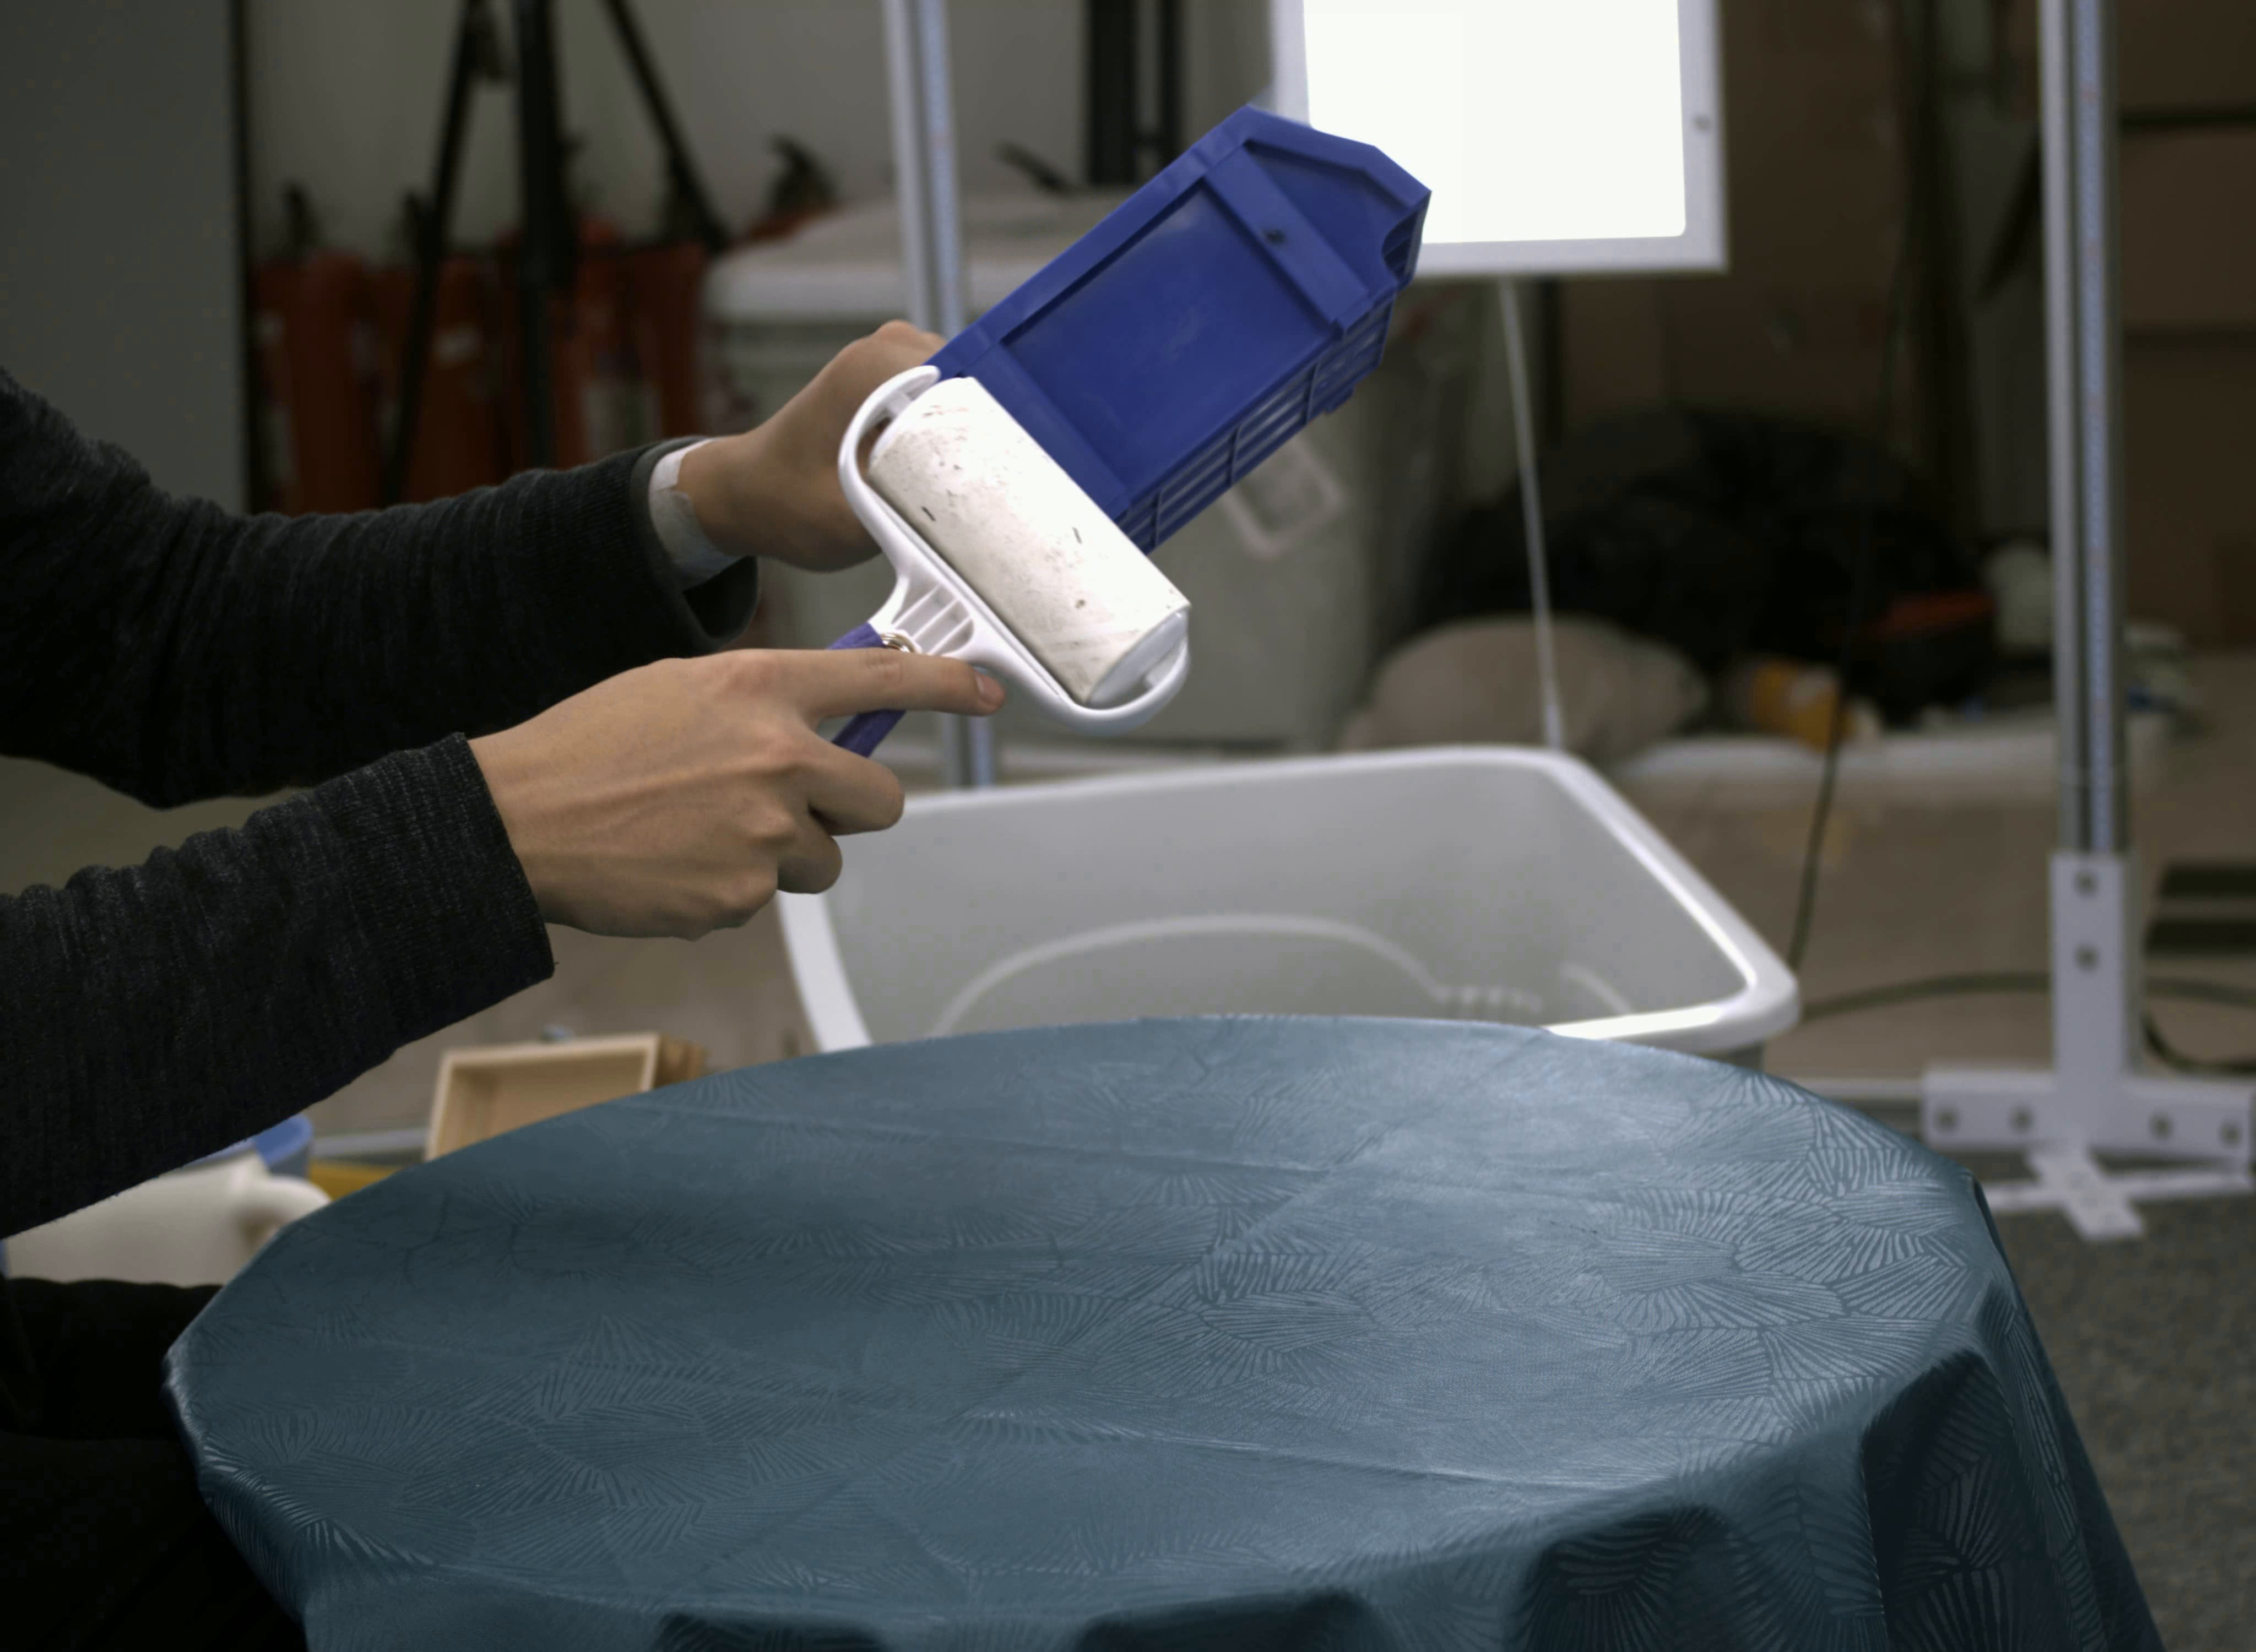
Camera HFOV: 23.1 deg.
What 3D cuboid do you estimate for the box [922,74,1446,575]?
[{"bbox_3d":[0.025,-0.170,1.855,0.179,0.082,0.124,-43,-8,-5],"label":"box"}]

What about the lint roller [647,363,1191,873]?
[{"bbox_3d":[-0.079,-0.052,1.683,0.178,0.133,0.051,-40,-7,-26],"label":"lint roller"}]
